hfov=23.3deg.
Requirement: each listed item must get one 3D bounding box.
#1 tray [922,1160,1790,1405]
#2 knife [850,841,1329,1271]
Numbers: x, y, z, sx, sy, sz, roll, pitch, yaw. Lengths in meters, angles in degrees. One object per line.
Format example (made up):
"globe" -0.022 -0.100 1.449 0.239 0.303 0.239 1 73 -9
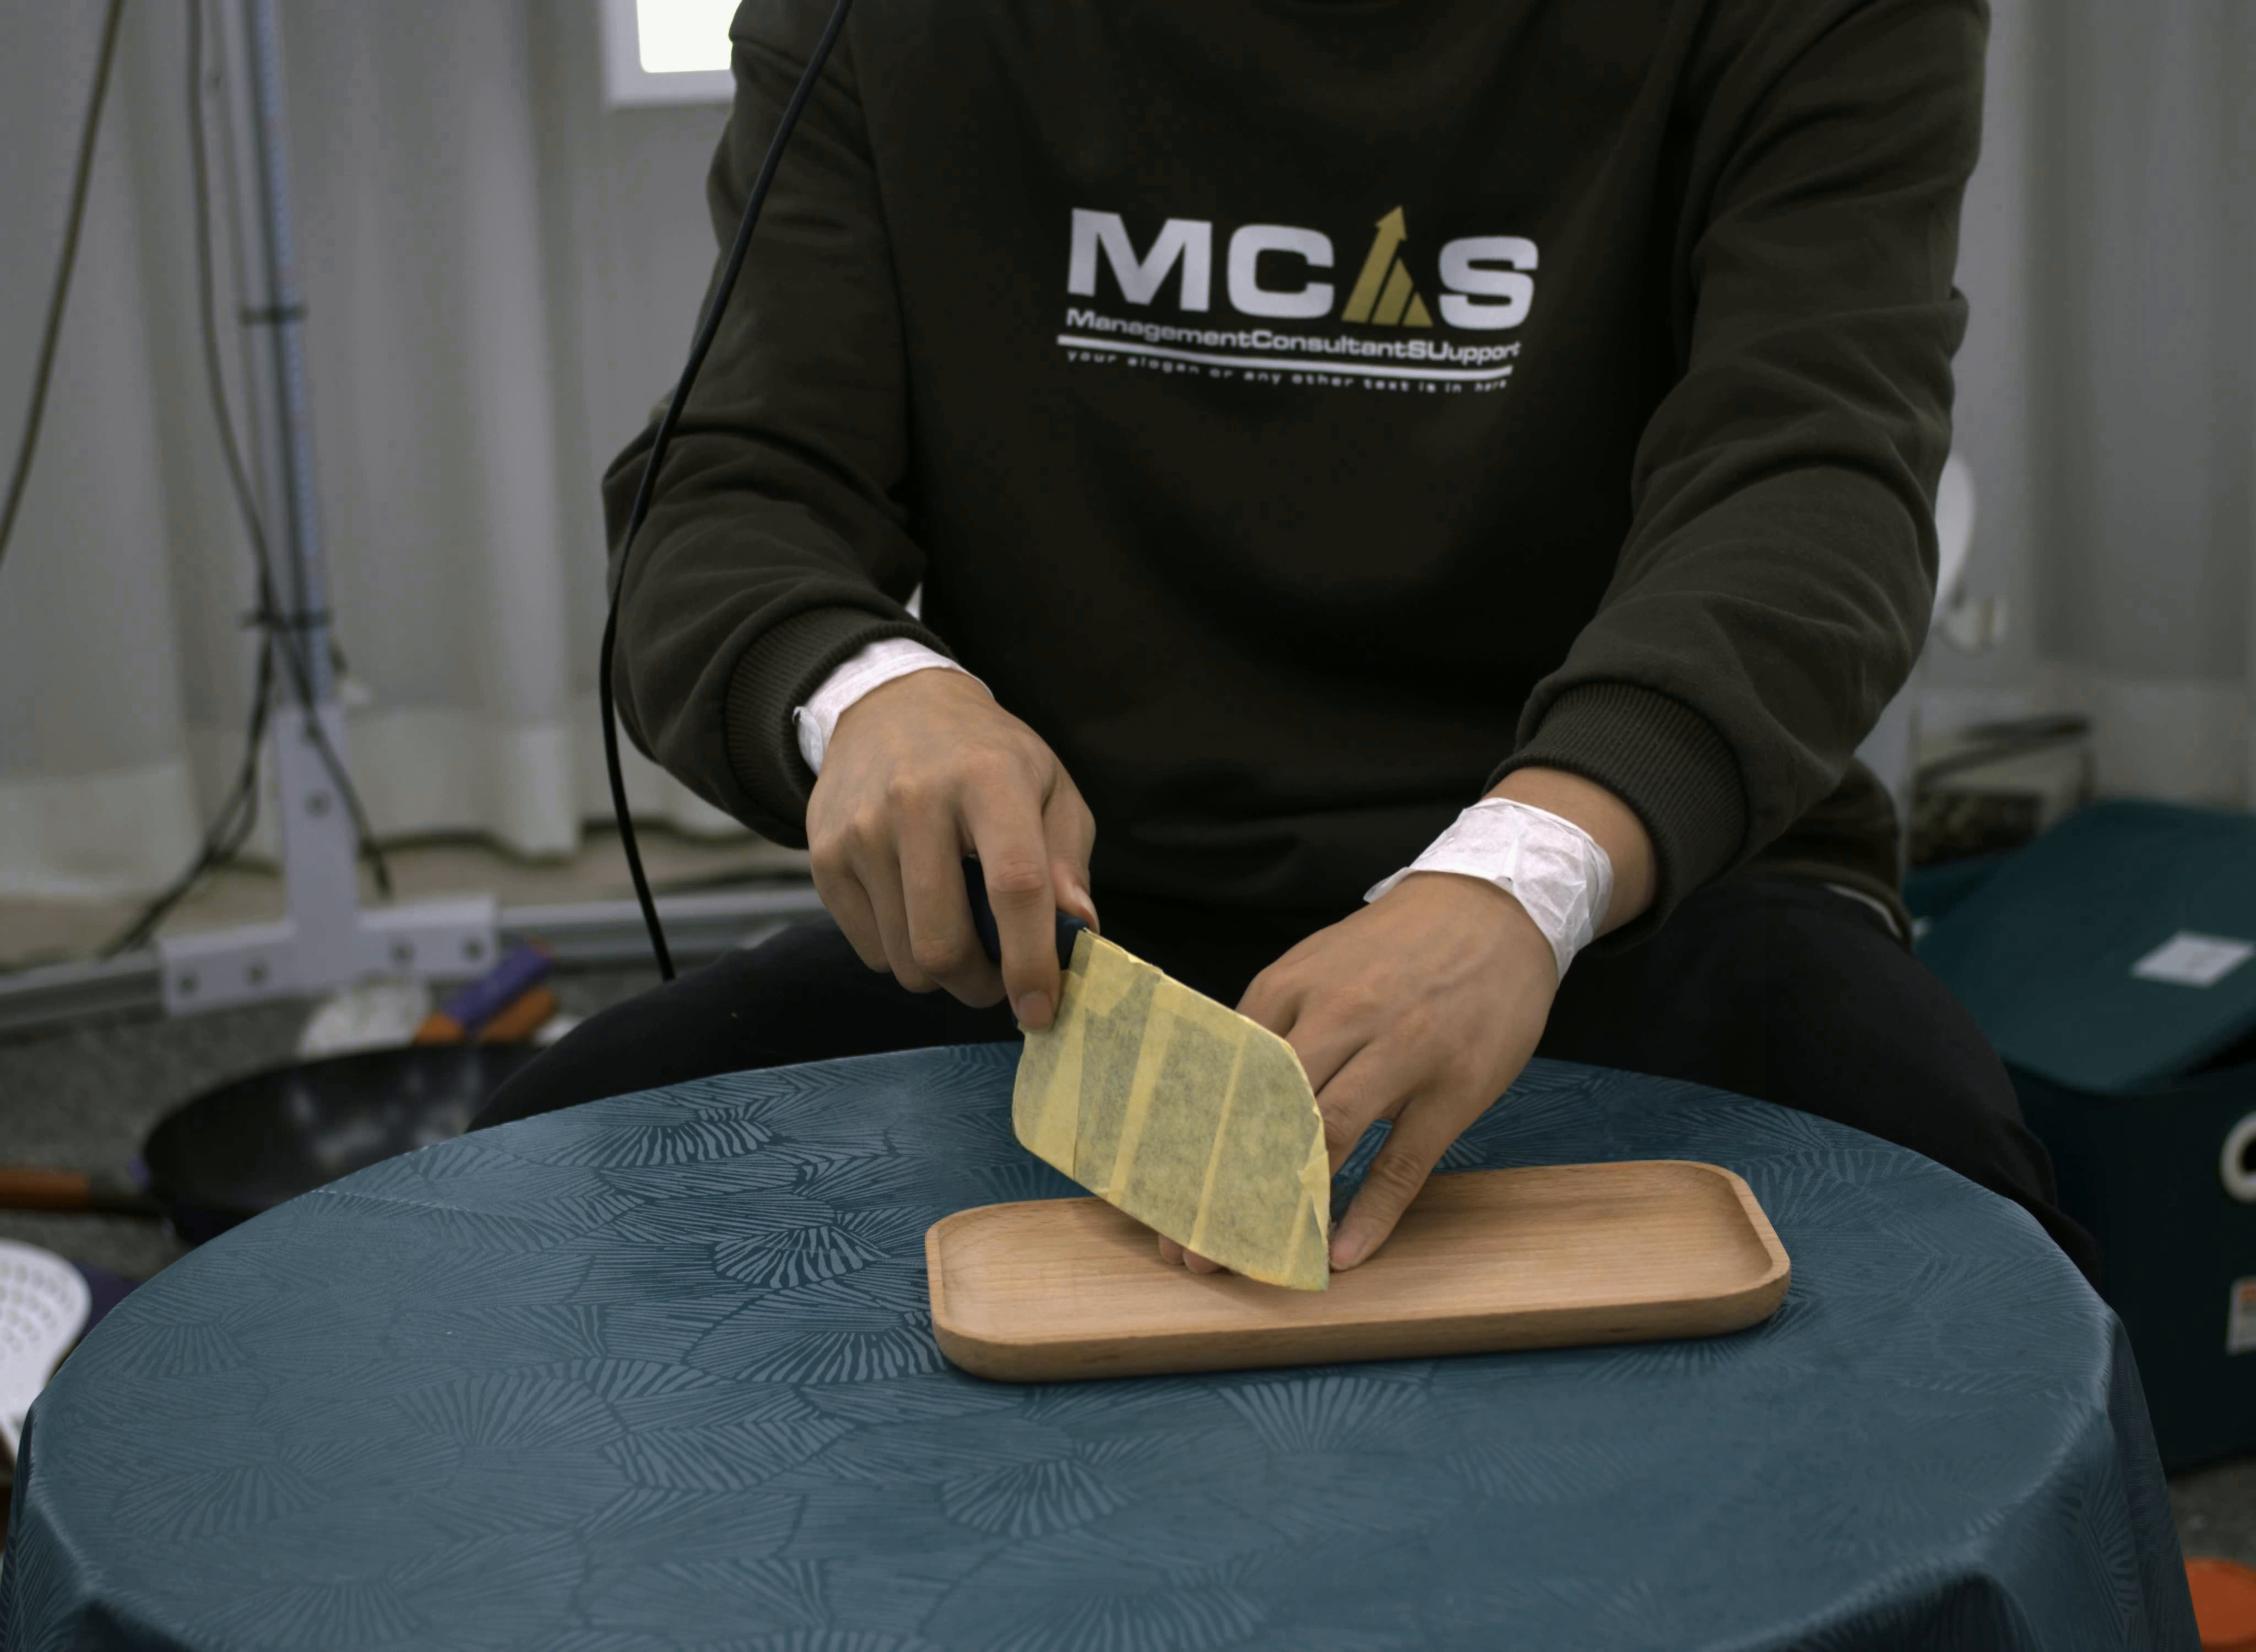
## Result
"tray" 0.065 0.134 1.611 0.250 0.023 0.131 -6 12 -2
"knife" -0.015 0.066 1.671 0.027 0.081 0.292 11 12 -33
